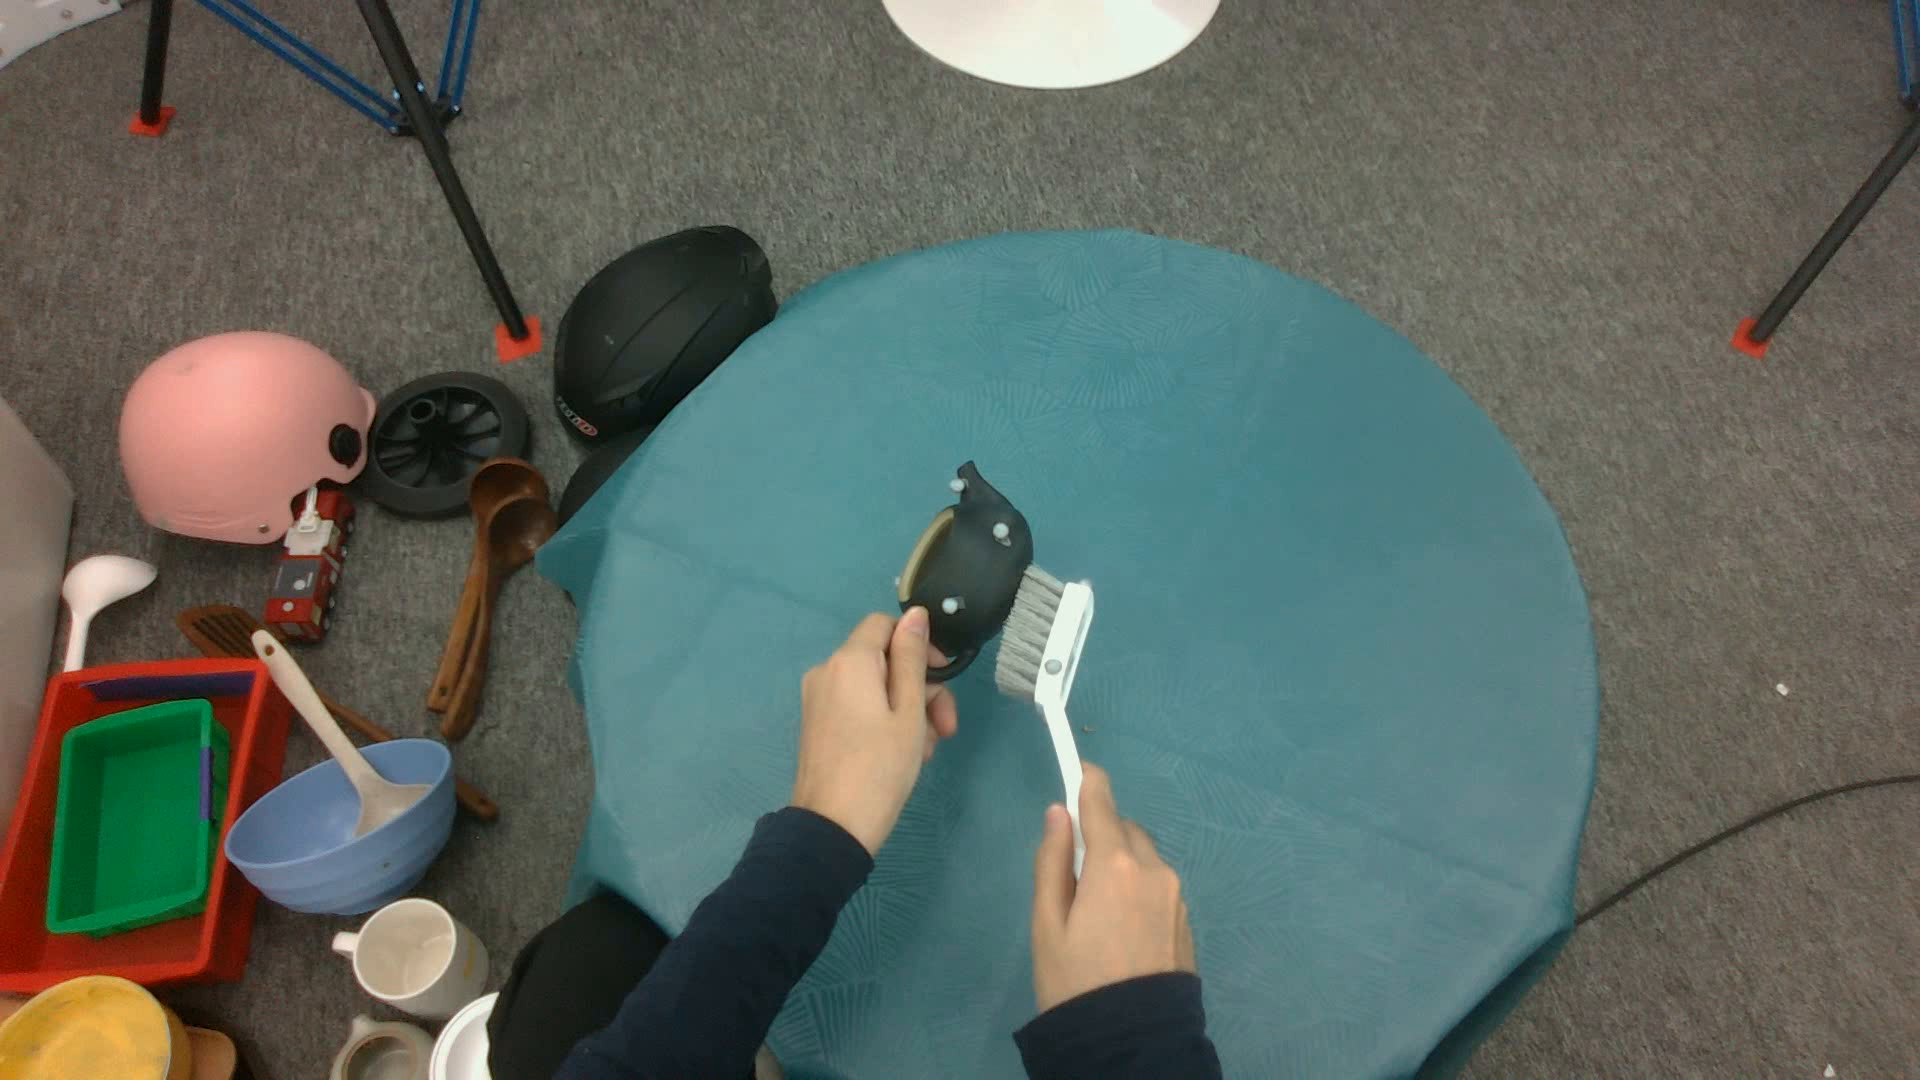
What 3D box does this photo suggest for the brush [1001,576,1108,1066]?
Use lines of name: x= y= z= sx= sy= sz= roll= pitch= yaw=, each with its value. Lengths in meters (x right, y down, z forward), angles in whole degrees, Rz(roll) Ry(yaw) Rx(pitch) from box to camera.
brush: x=0.046 y=0.132 z=0.683 sx=0.050 sy=0.034 sz=0.244 roll=-3 pitch=63 yaw=6

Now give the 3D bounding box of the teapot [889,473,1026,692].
teapot: x=0.001 y=0.026 z=0.756 sx=0.053 sy=0.090 sz=0.134 roll=28 pitch=58 yaw=-12
